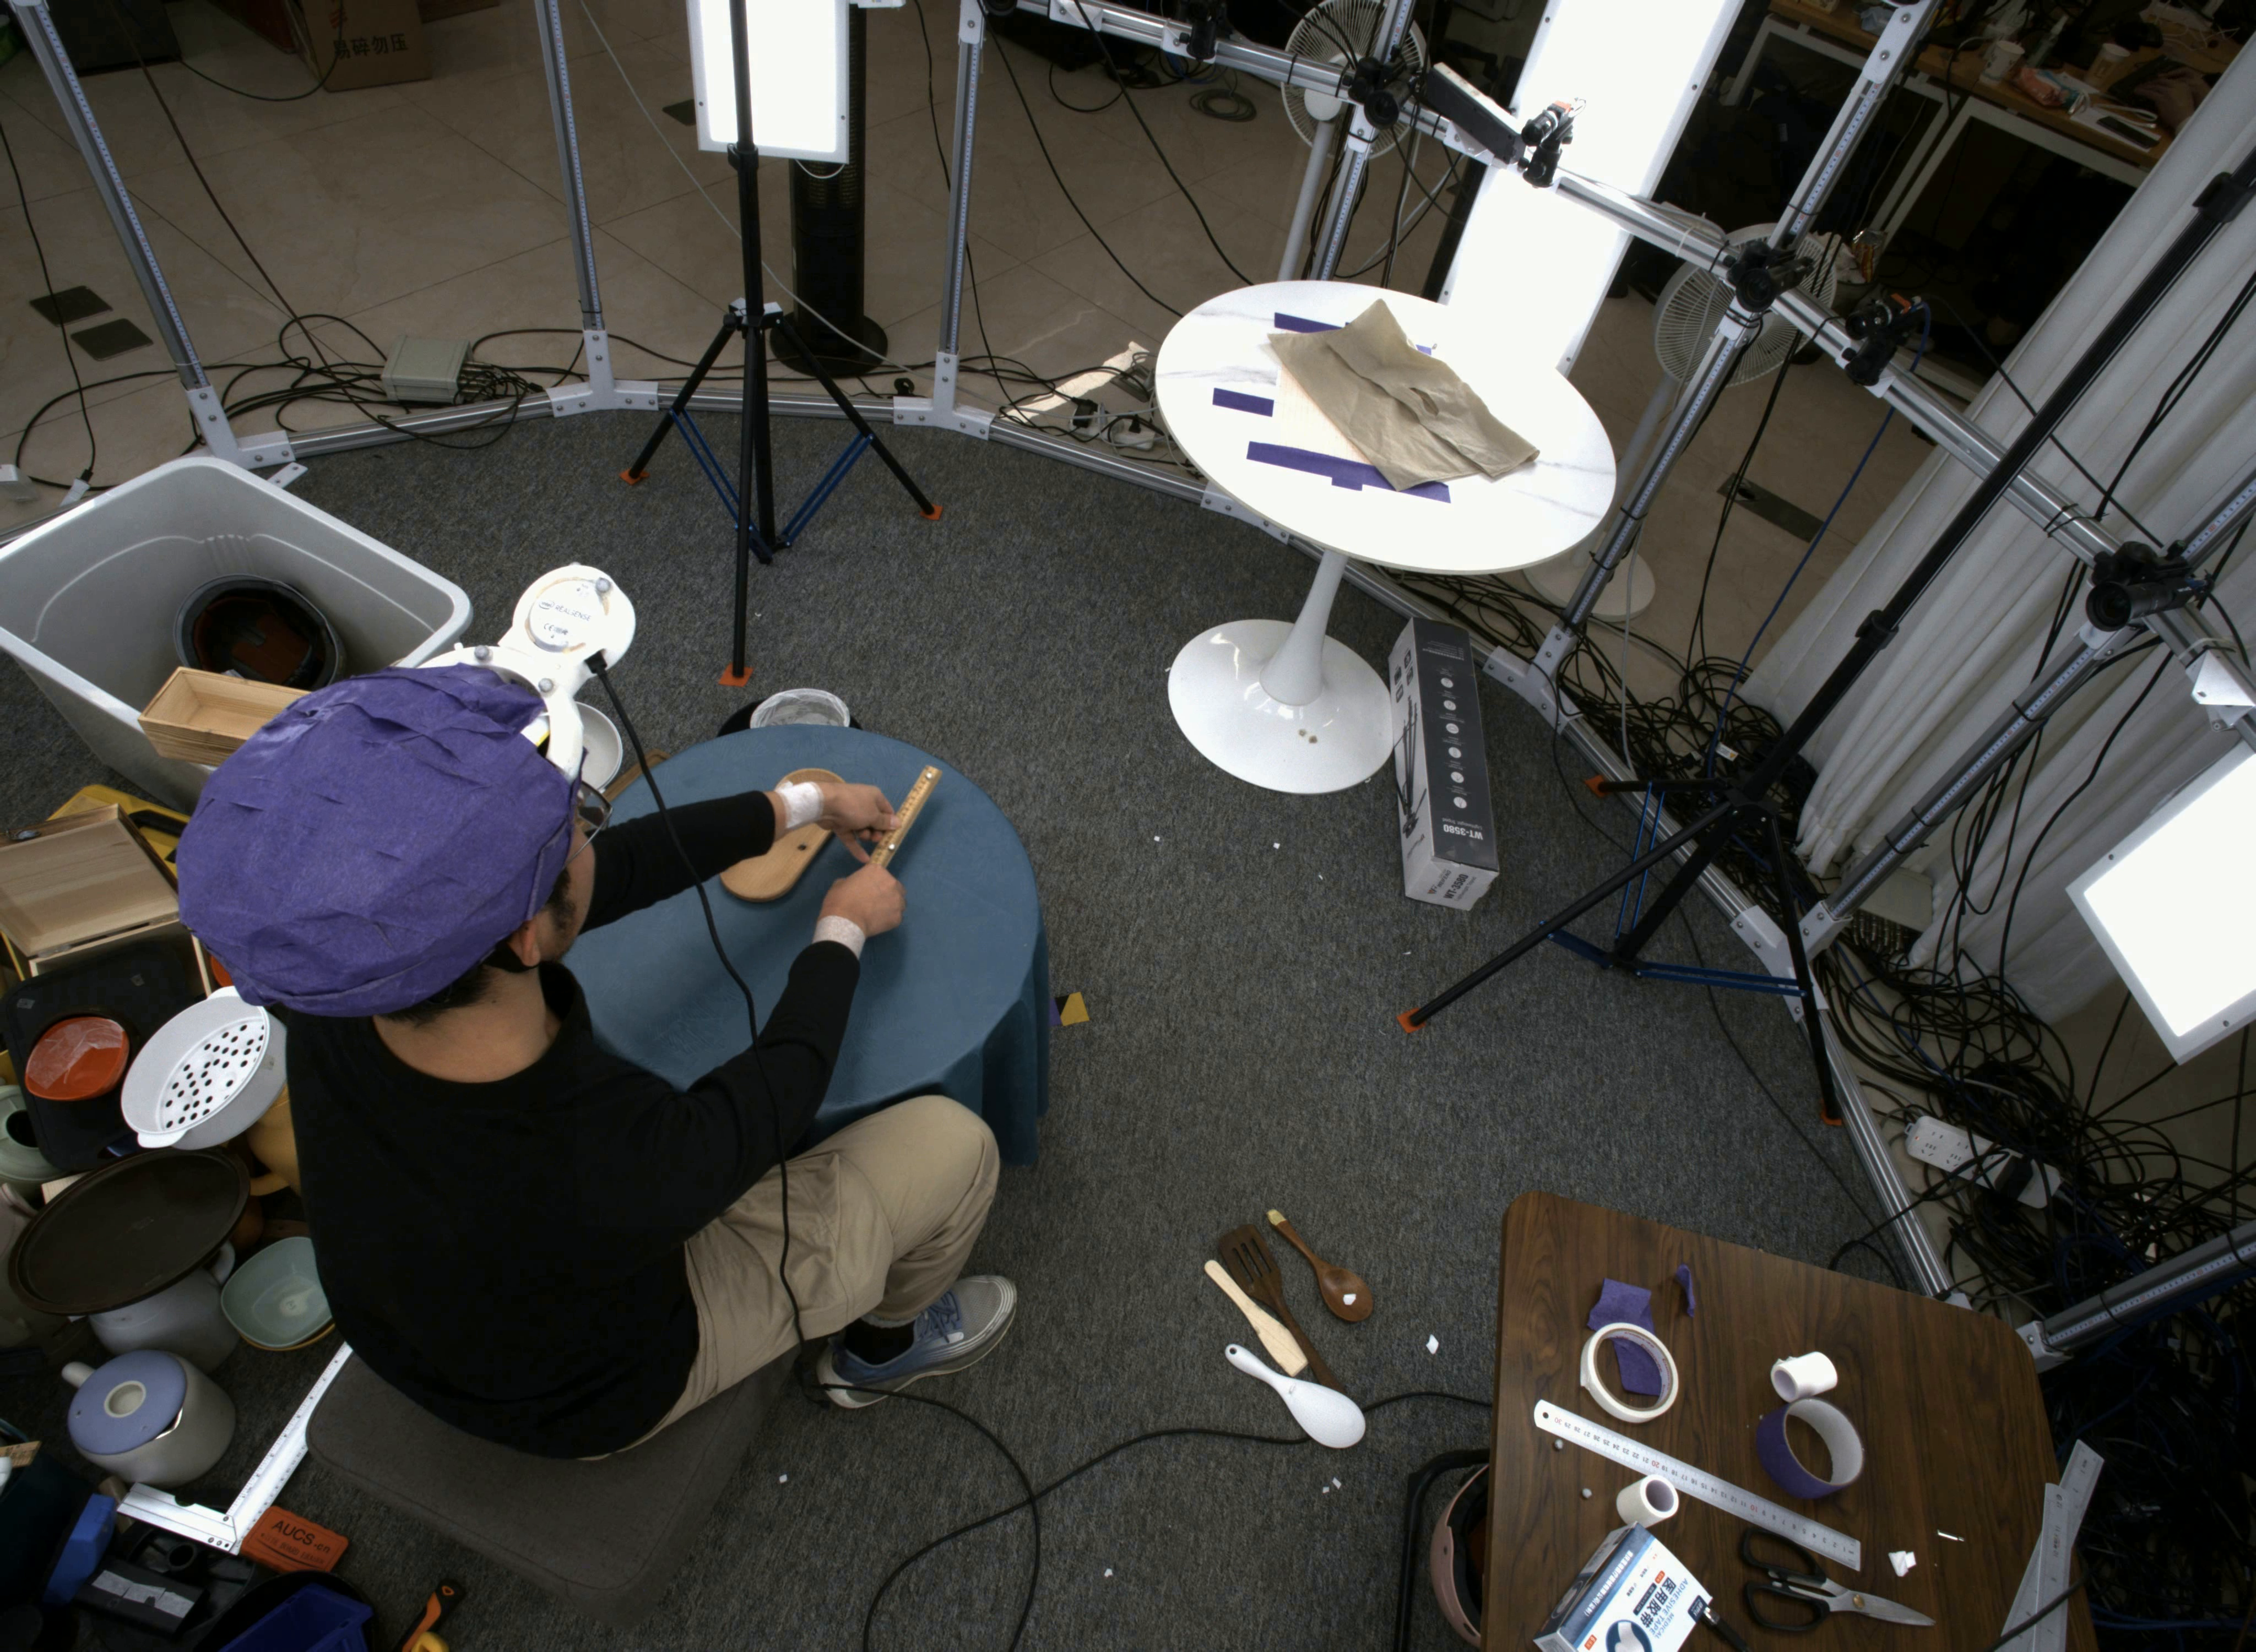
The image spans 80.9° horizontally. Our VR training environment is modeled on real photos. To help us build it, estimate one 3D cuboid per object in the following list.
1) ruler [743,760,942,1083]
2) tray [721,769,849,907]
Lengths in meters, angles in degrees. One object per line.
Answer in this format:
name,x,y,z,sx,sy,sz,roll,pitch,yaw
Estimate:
ruler,-0.346,0.099,1.614,0.026,0.006,0.496,20,55,6
tray,-0.446,0.013,1.693,0.100,0.021,0.229,22,53,4
